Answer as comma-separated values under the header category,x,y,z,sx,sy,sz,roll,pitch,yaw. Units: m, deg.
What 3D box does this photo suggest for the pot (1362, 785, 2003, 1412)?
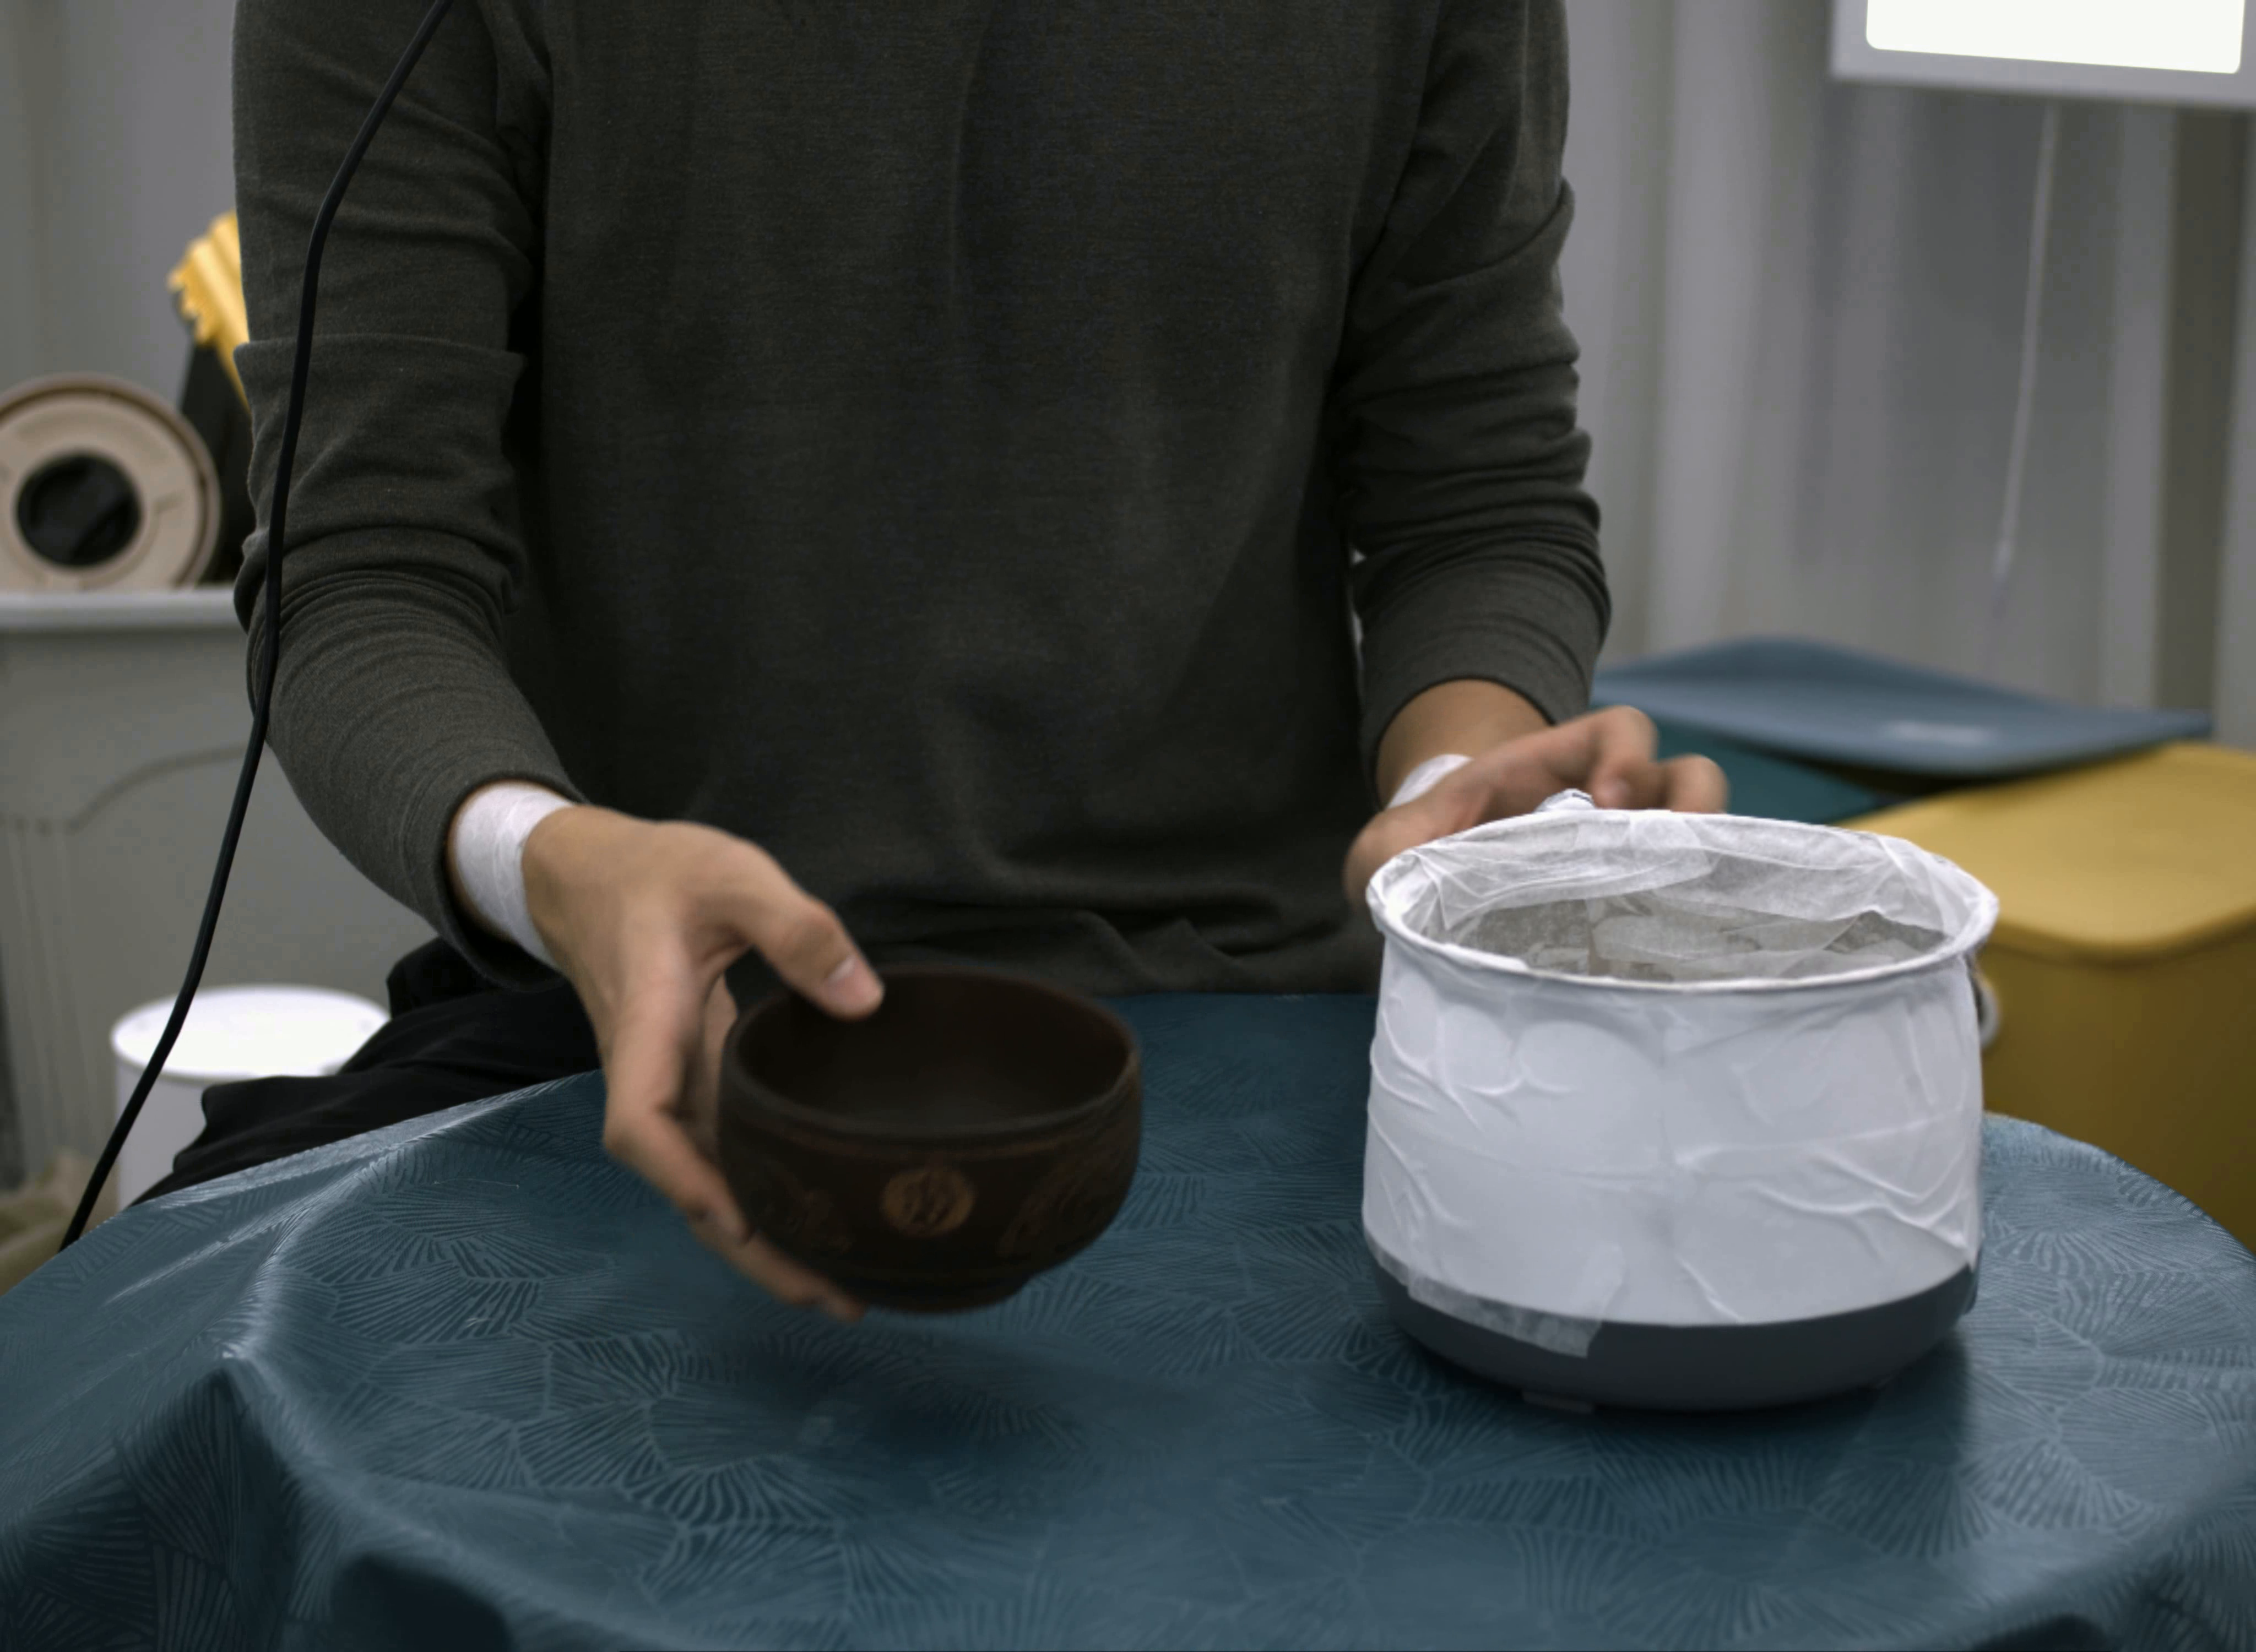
category,x,y,z,sx,sy,sz,roll,pitch,yaw
pot,0.148,0.072,1.515,0.179,0.138,0.231,-3,16,-15

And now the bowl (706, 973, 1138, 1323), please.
category,x,y,z,sx,sy,sz,roll,pitch,yaw
bowl,-0.056,0.093,1.434,0.117,0.070,0.117,1,20,0
